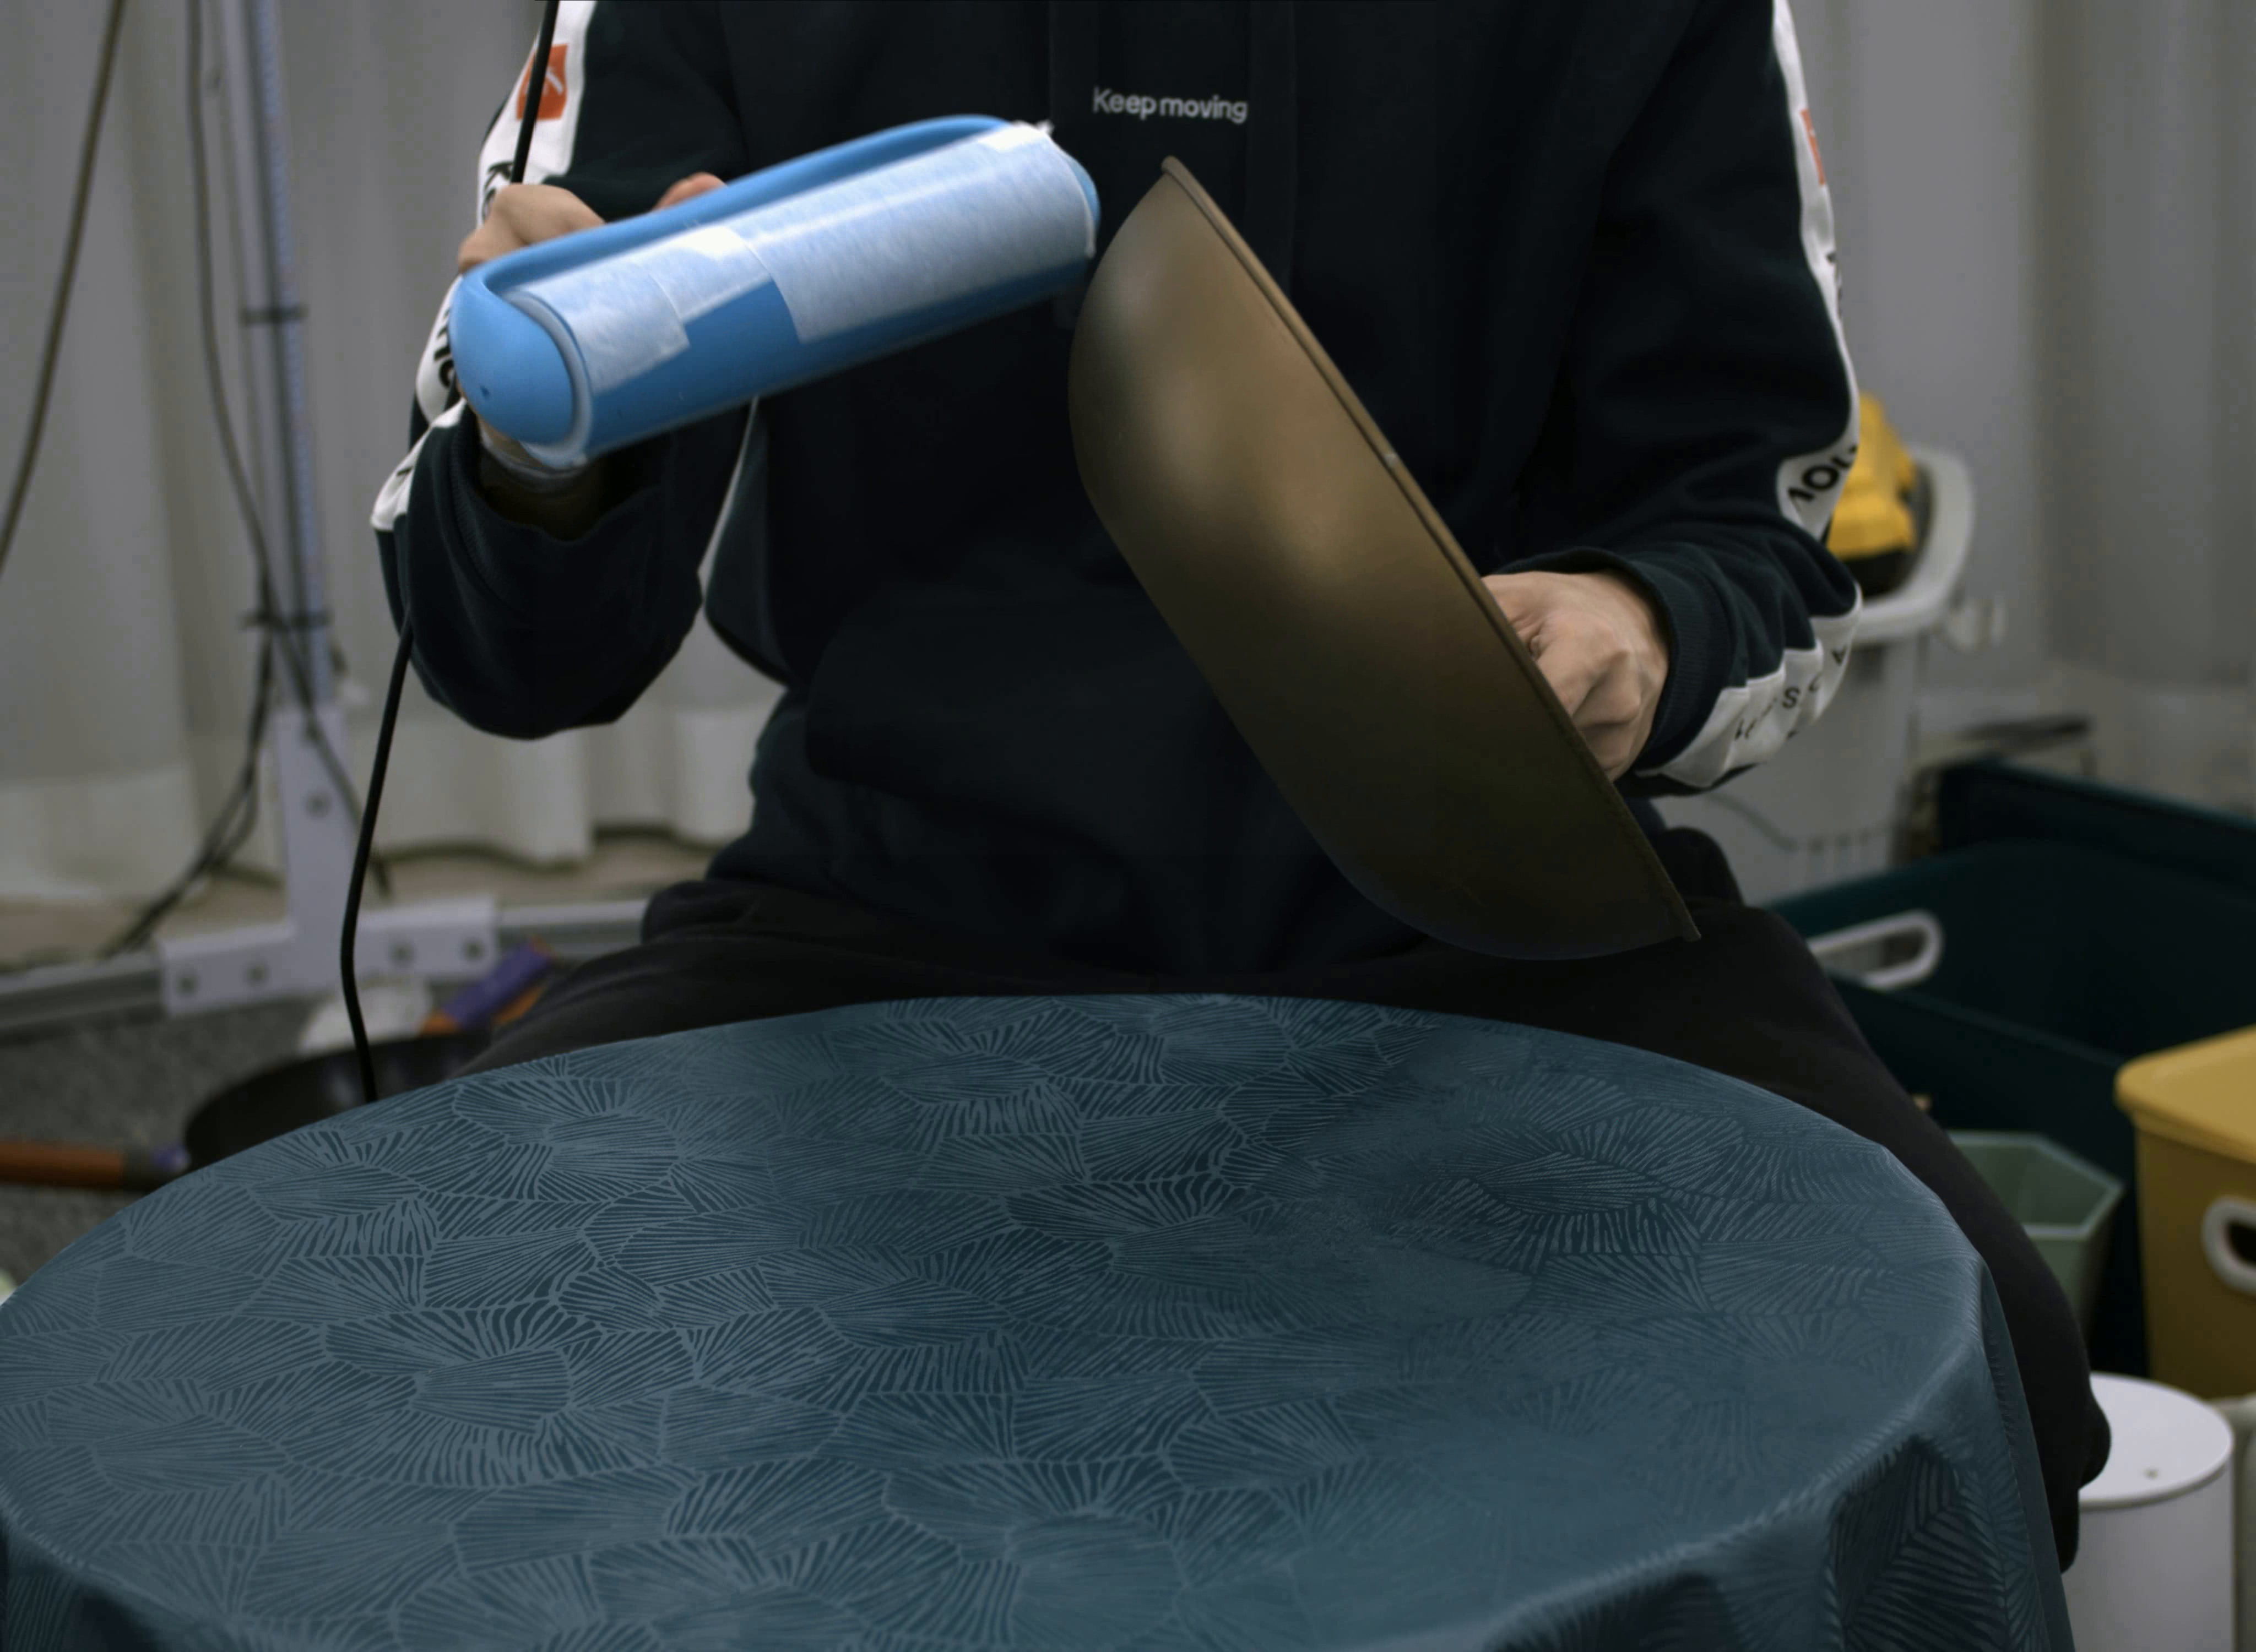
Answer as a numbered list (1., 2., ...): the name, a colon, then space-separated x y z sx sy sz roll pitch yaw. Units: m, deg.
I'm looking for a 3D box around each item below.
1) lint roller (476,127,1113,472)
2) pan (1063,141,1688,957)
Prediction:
1. lint roller: -0.133 -0.158 1.702 0.229 0.068 0.180 -26 14 -38
2. pan: 0.076 -0.049 1.733 0.087 0.290 0.460 -33 -15 3
